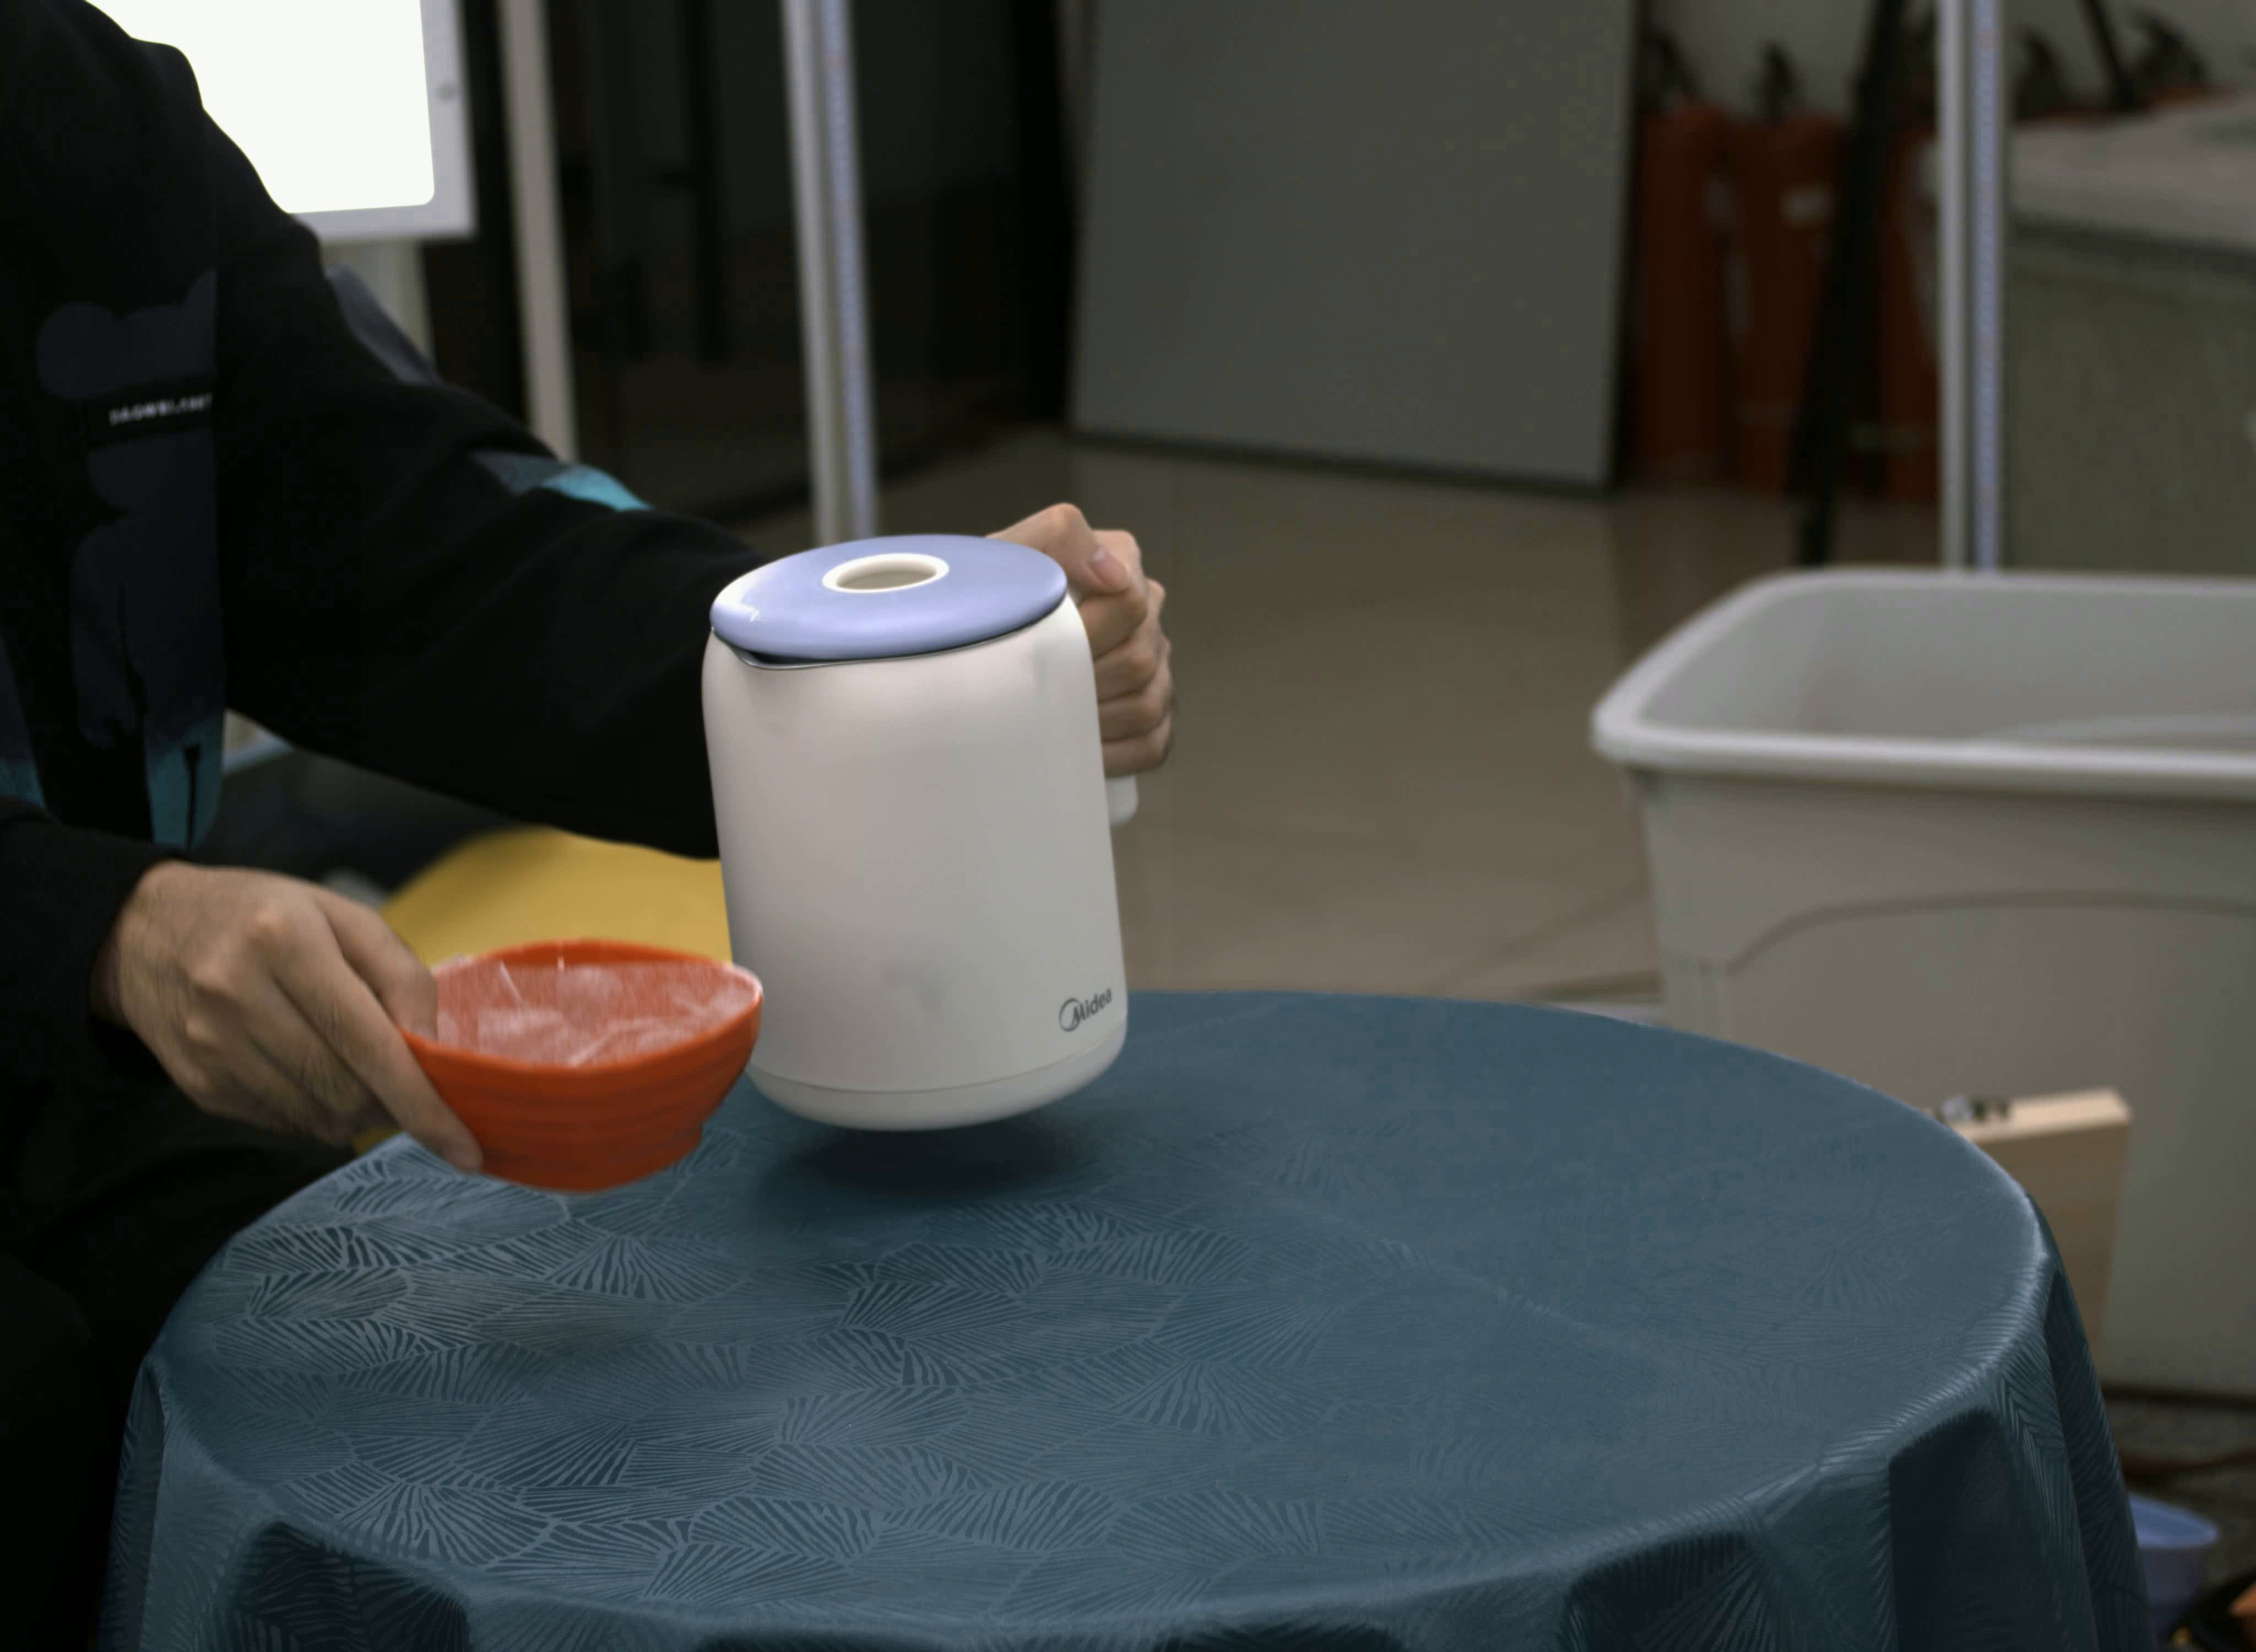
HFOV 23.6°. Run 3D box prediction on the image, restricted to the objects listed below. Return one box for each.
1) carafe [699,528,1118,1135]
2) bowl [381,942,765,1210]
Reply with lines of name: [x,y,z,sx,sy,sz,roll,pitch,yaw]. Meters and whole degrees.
carafe: [-0.059,-0.006,1.812,0.133,0.184,0.188,8,20,33]
bowl: [-0.169,0.079,1.664,0.117,0.052,0.119,-1,20,-1]
